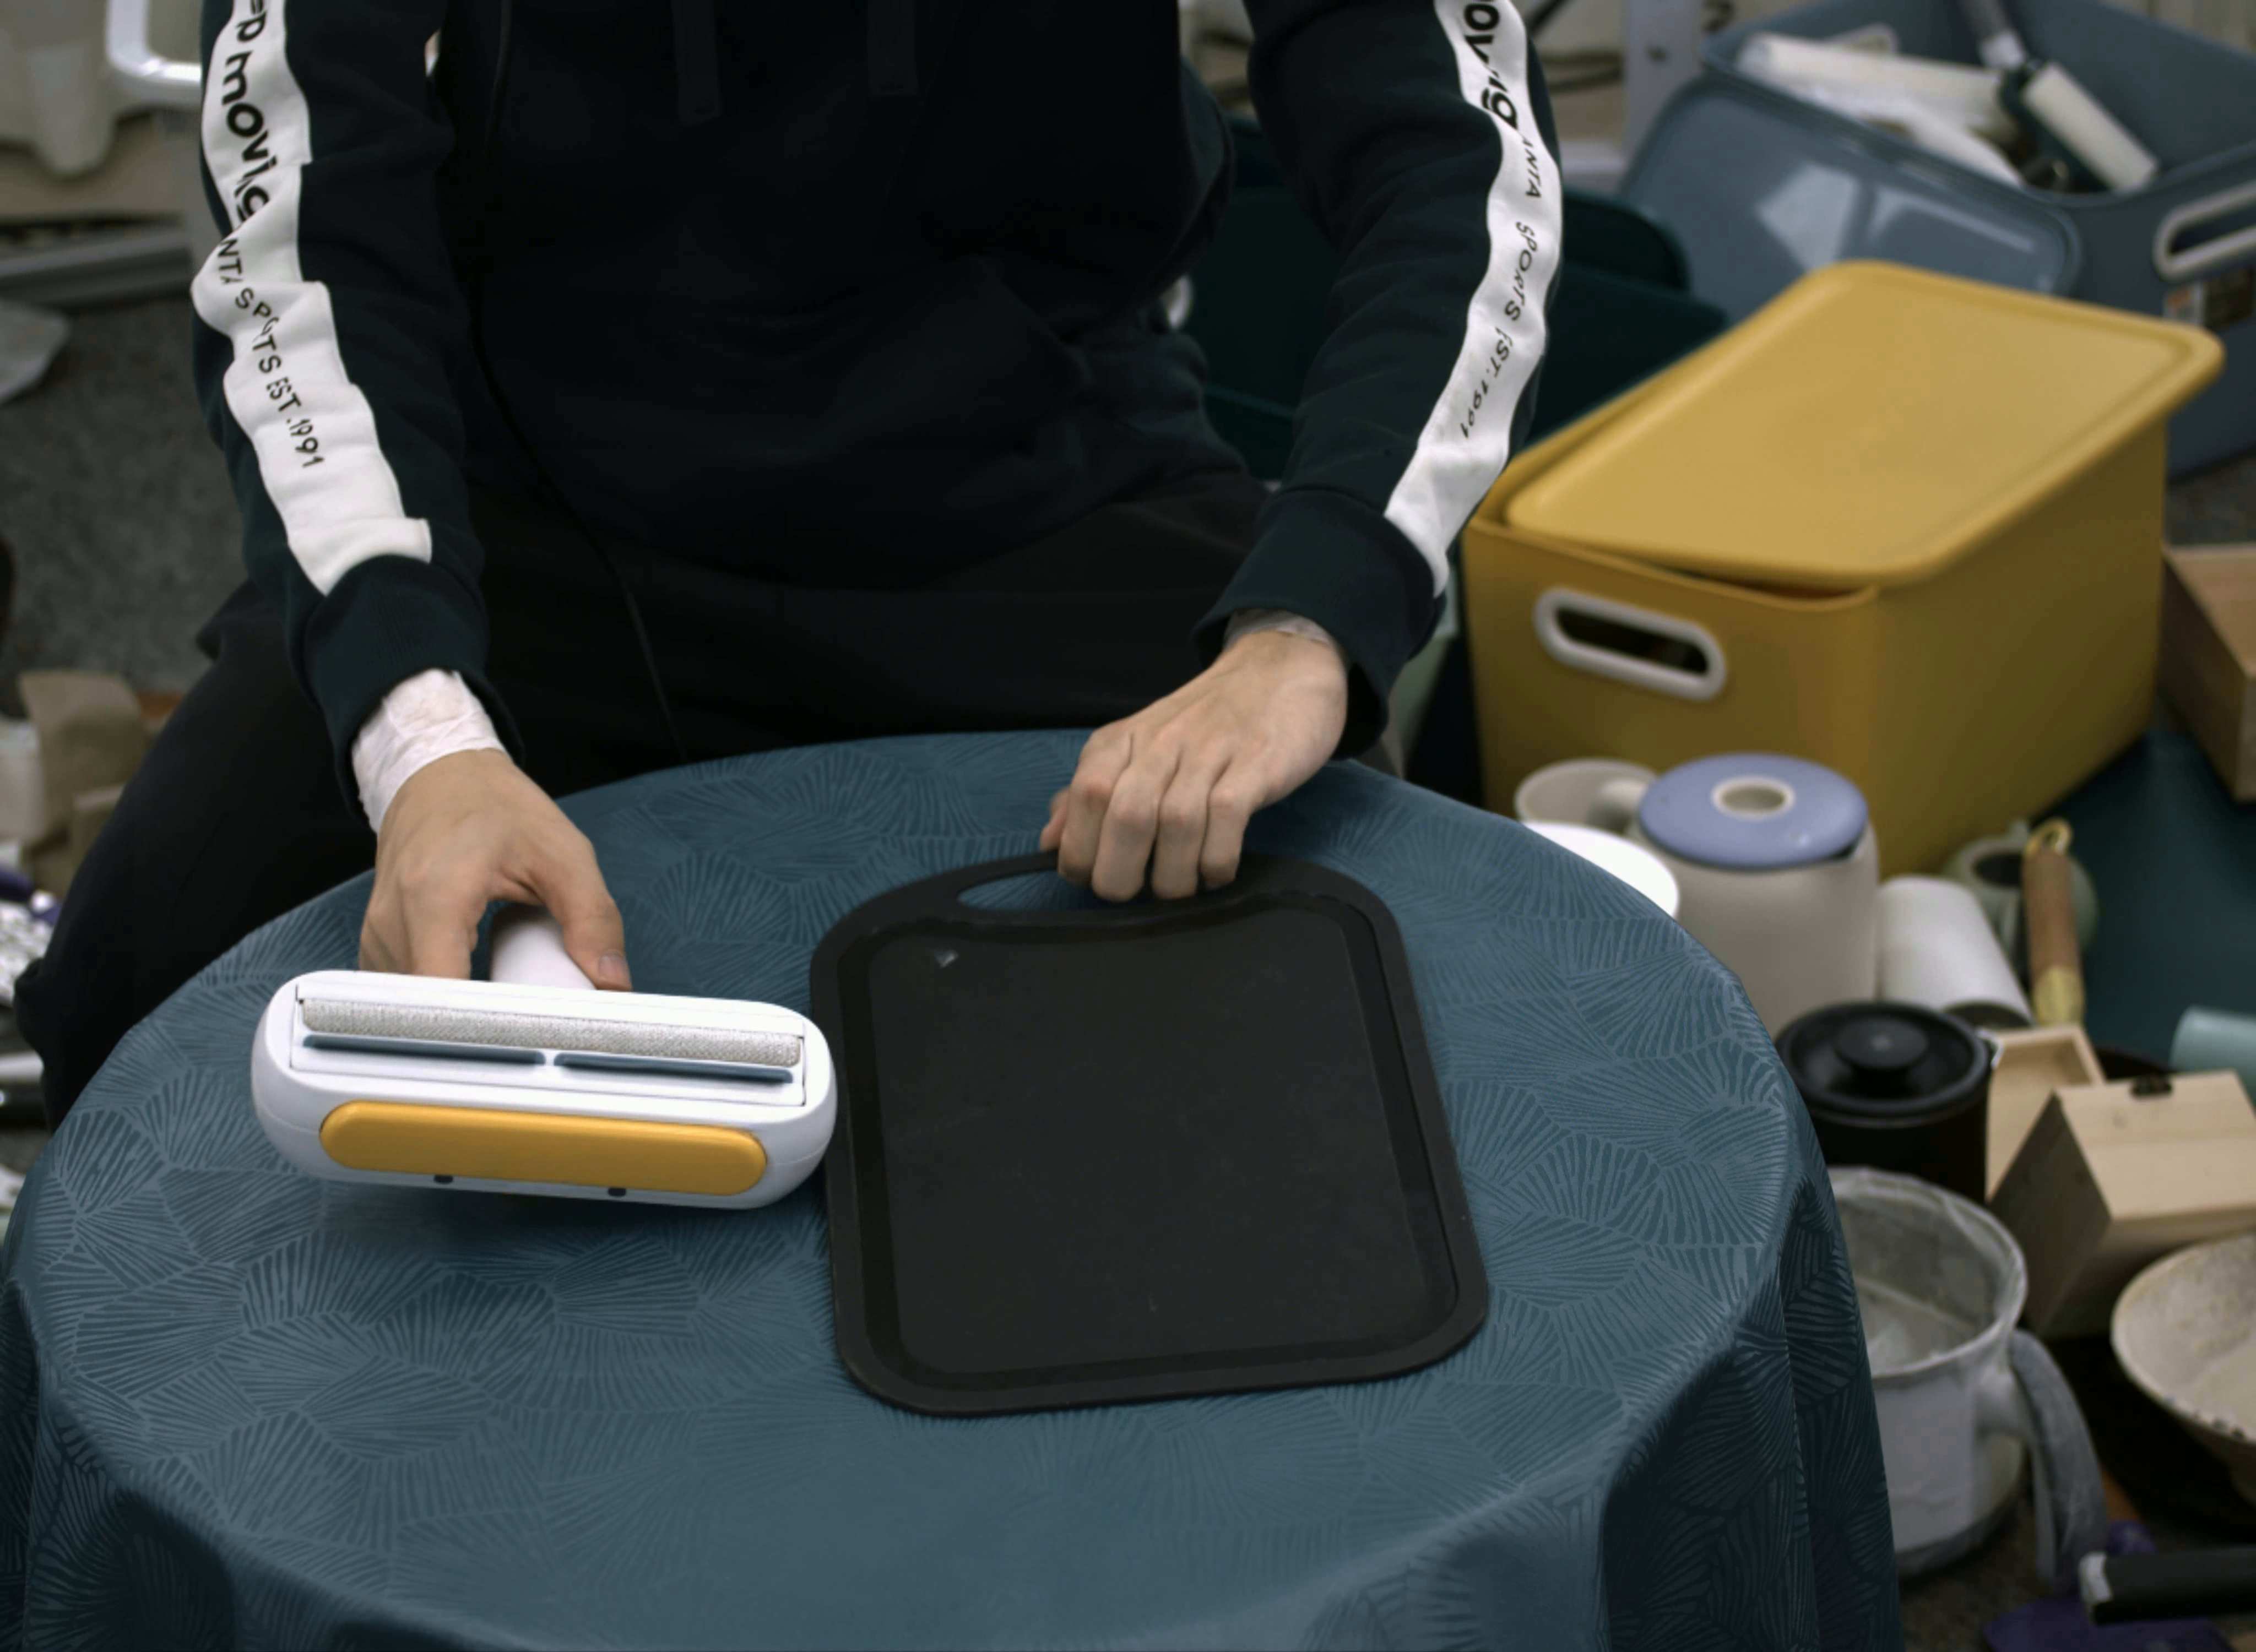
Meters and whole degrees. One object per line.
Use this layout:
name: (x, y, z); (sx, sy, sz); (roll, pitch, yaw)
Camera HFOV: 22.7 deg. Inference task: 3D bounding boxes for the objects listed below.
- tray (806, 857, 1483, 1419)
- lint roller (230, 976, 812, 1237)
tray: (-0.001, 0.095, 1.886); (0.210, 0.009, 0.330); (-4, 31, -3)
lint roller: (-0.202, 0.083, 1.915); (0.192, 0.074, 0.194); (5, 16, -2)
